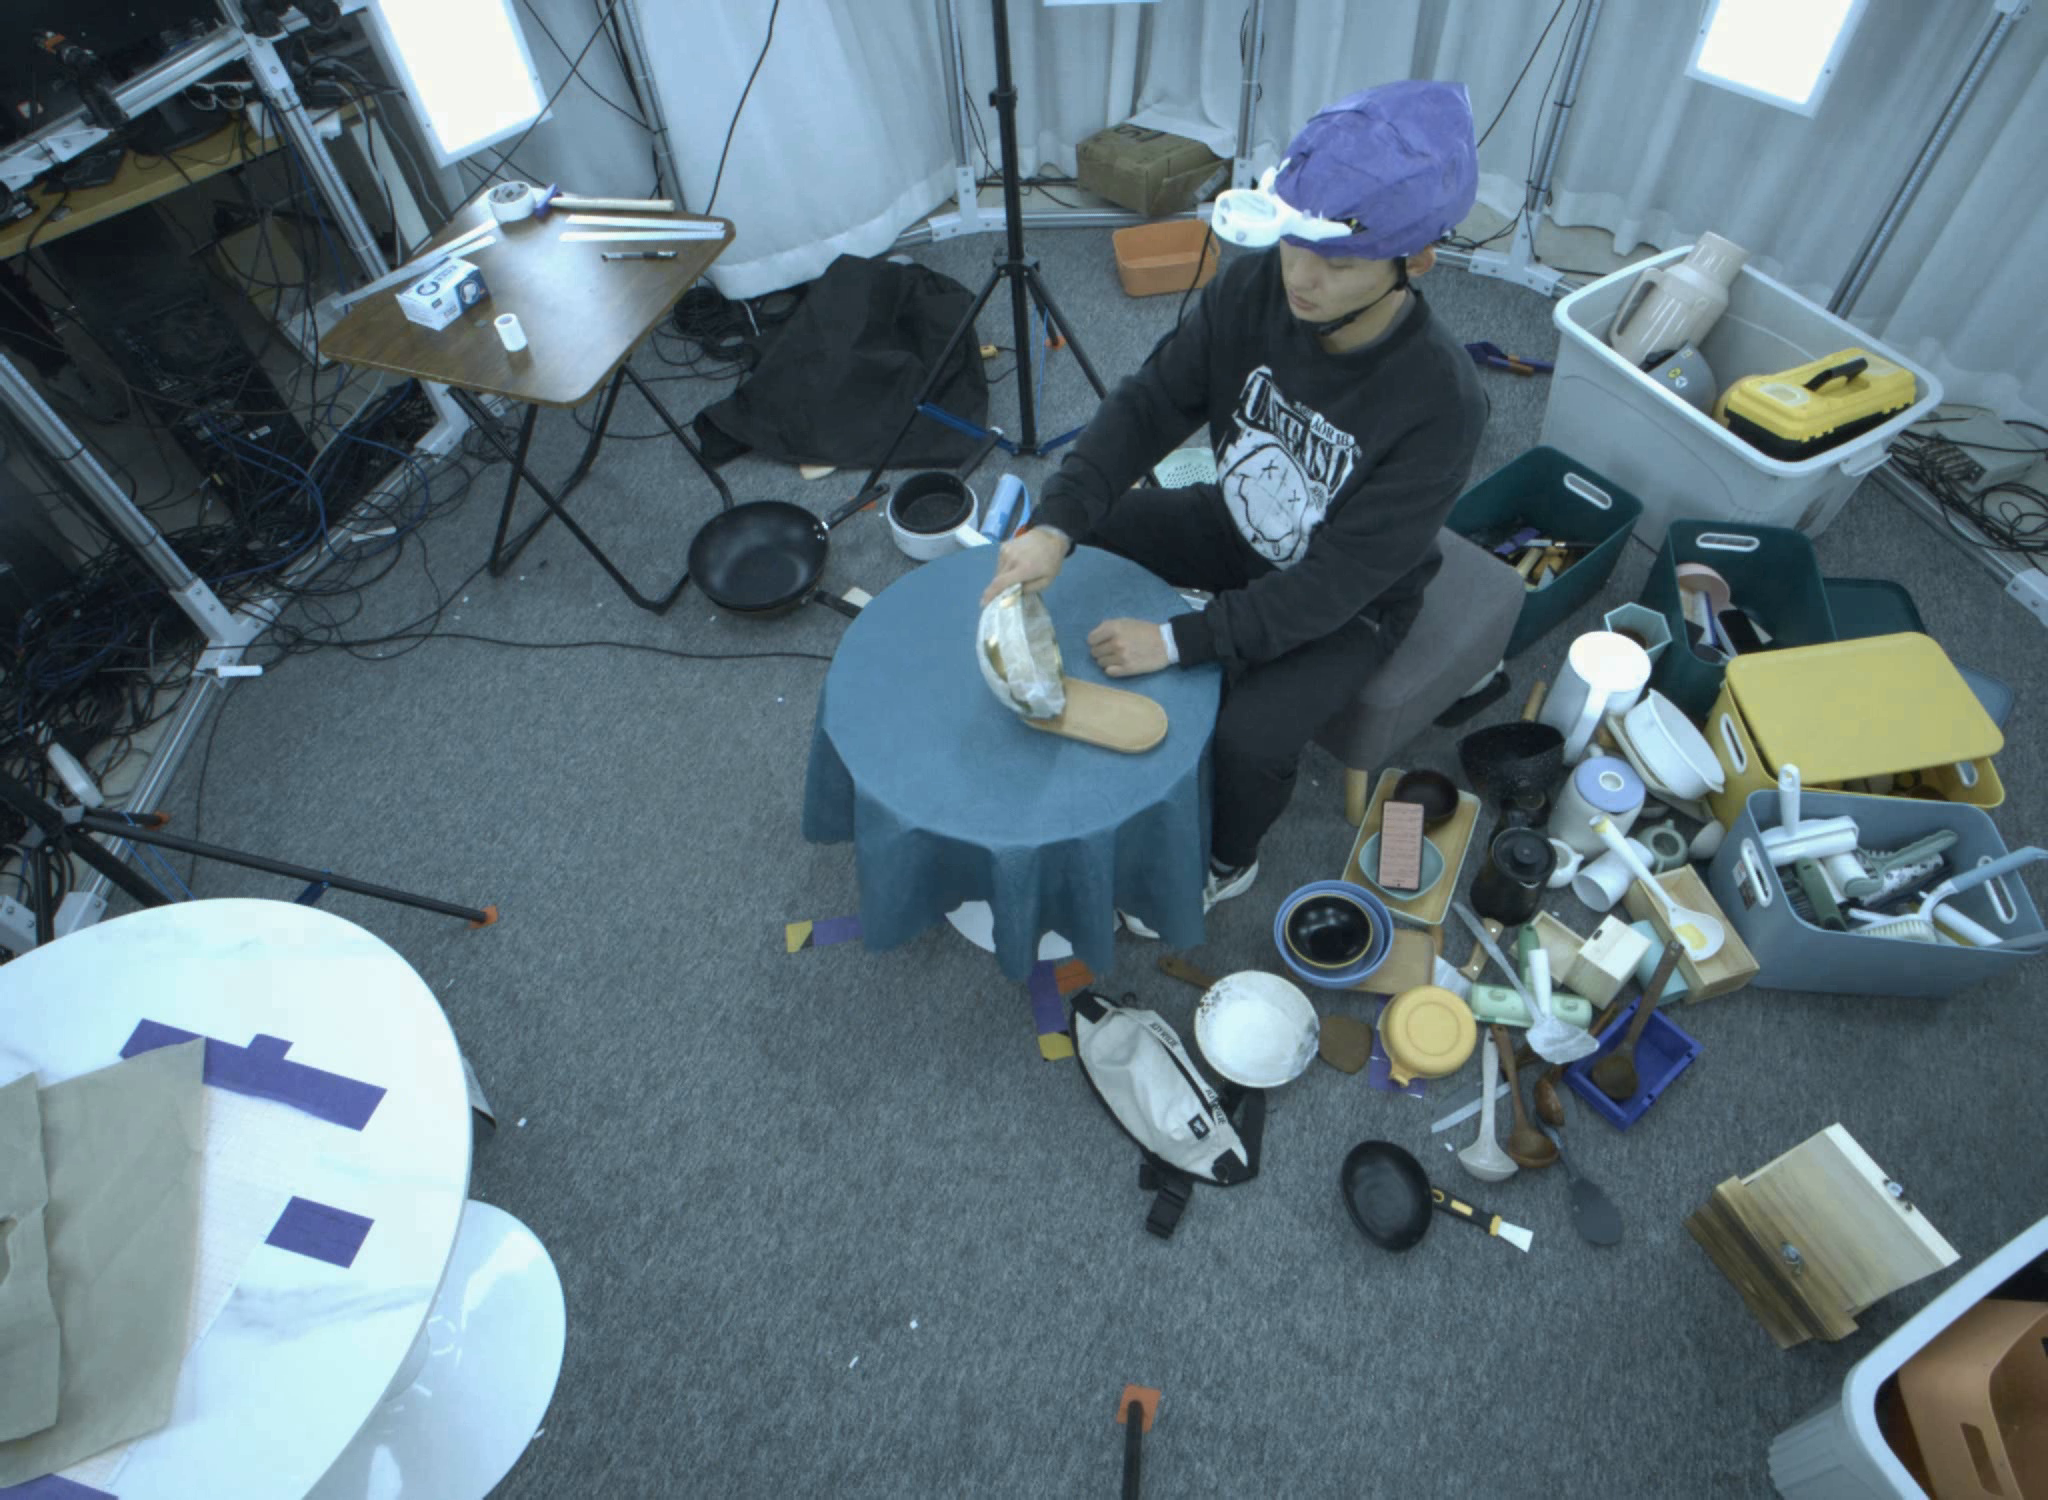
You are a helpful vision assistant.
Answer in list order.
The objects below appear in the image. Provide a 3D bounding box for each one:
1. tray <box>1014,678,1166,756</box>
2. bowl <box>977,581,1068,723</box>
[{"bbox_3d":[0.097,-0.049,1.820,0.229,0.020,0.101,14,54,13],"label":"tray"},{"bbox_3d":[-0.010,-0.131,1.768,0.094,0.219,0.212,-14,54,14],"label":"bowl"}]
